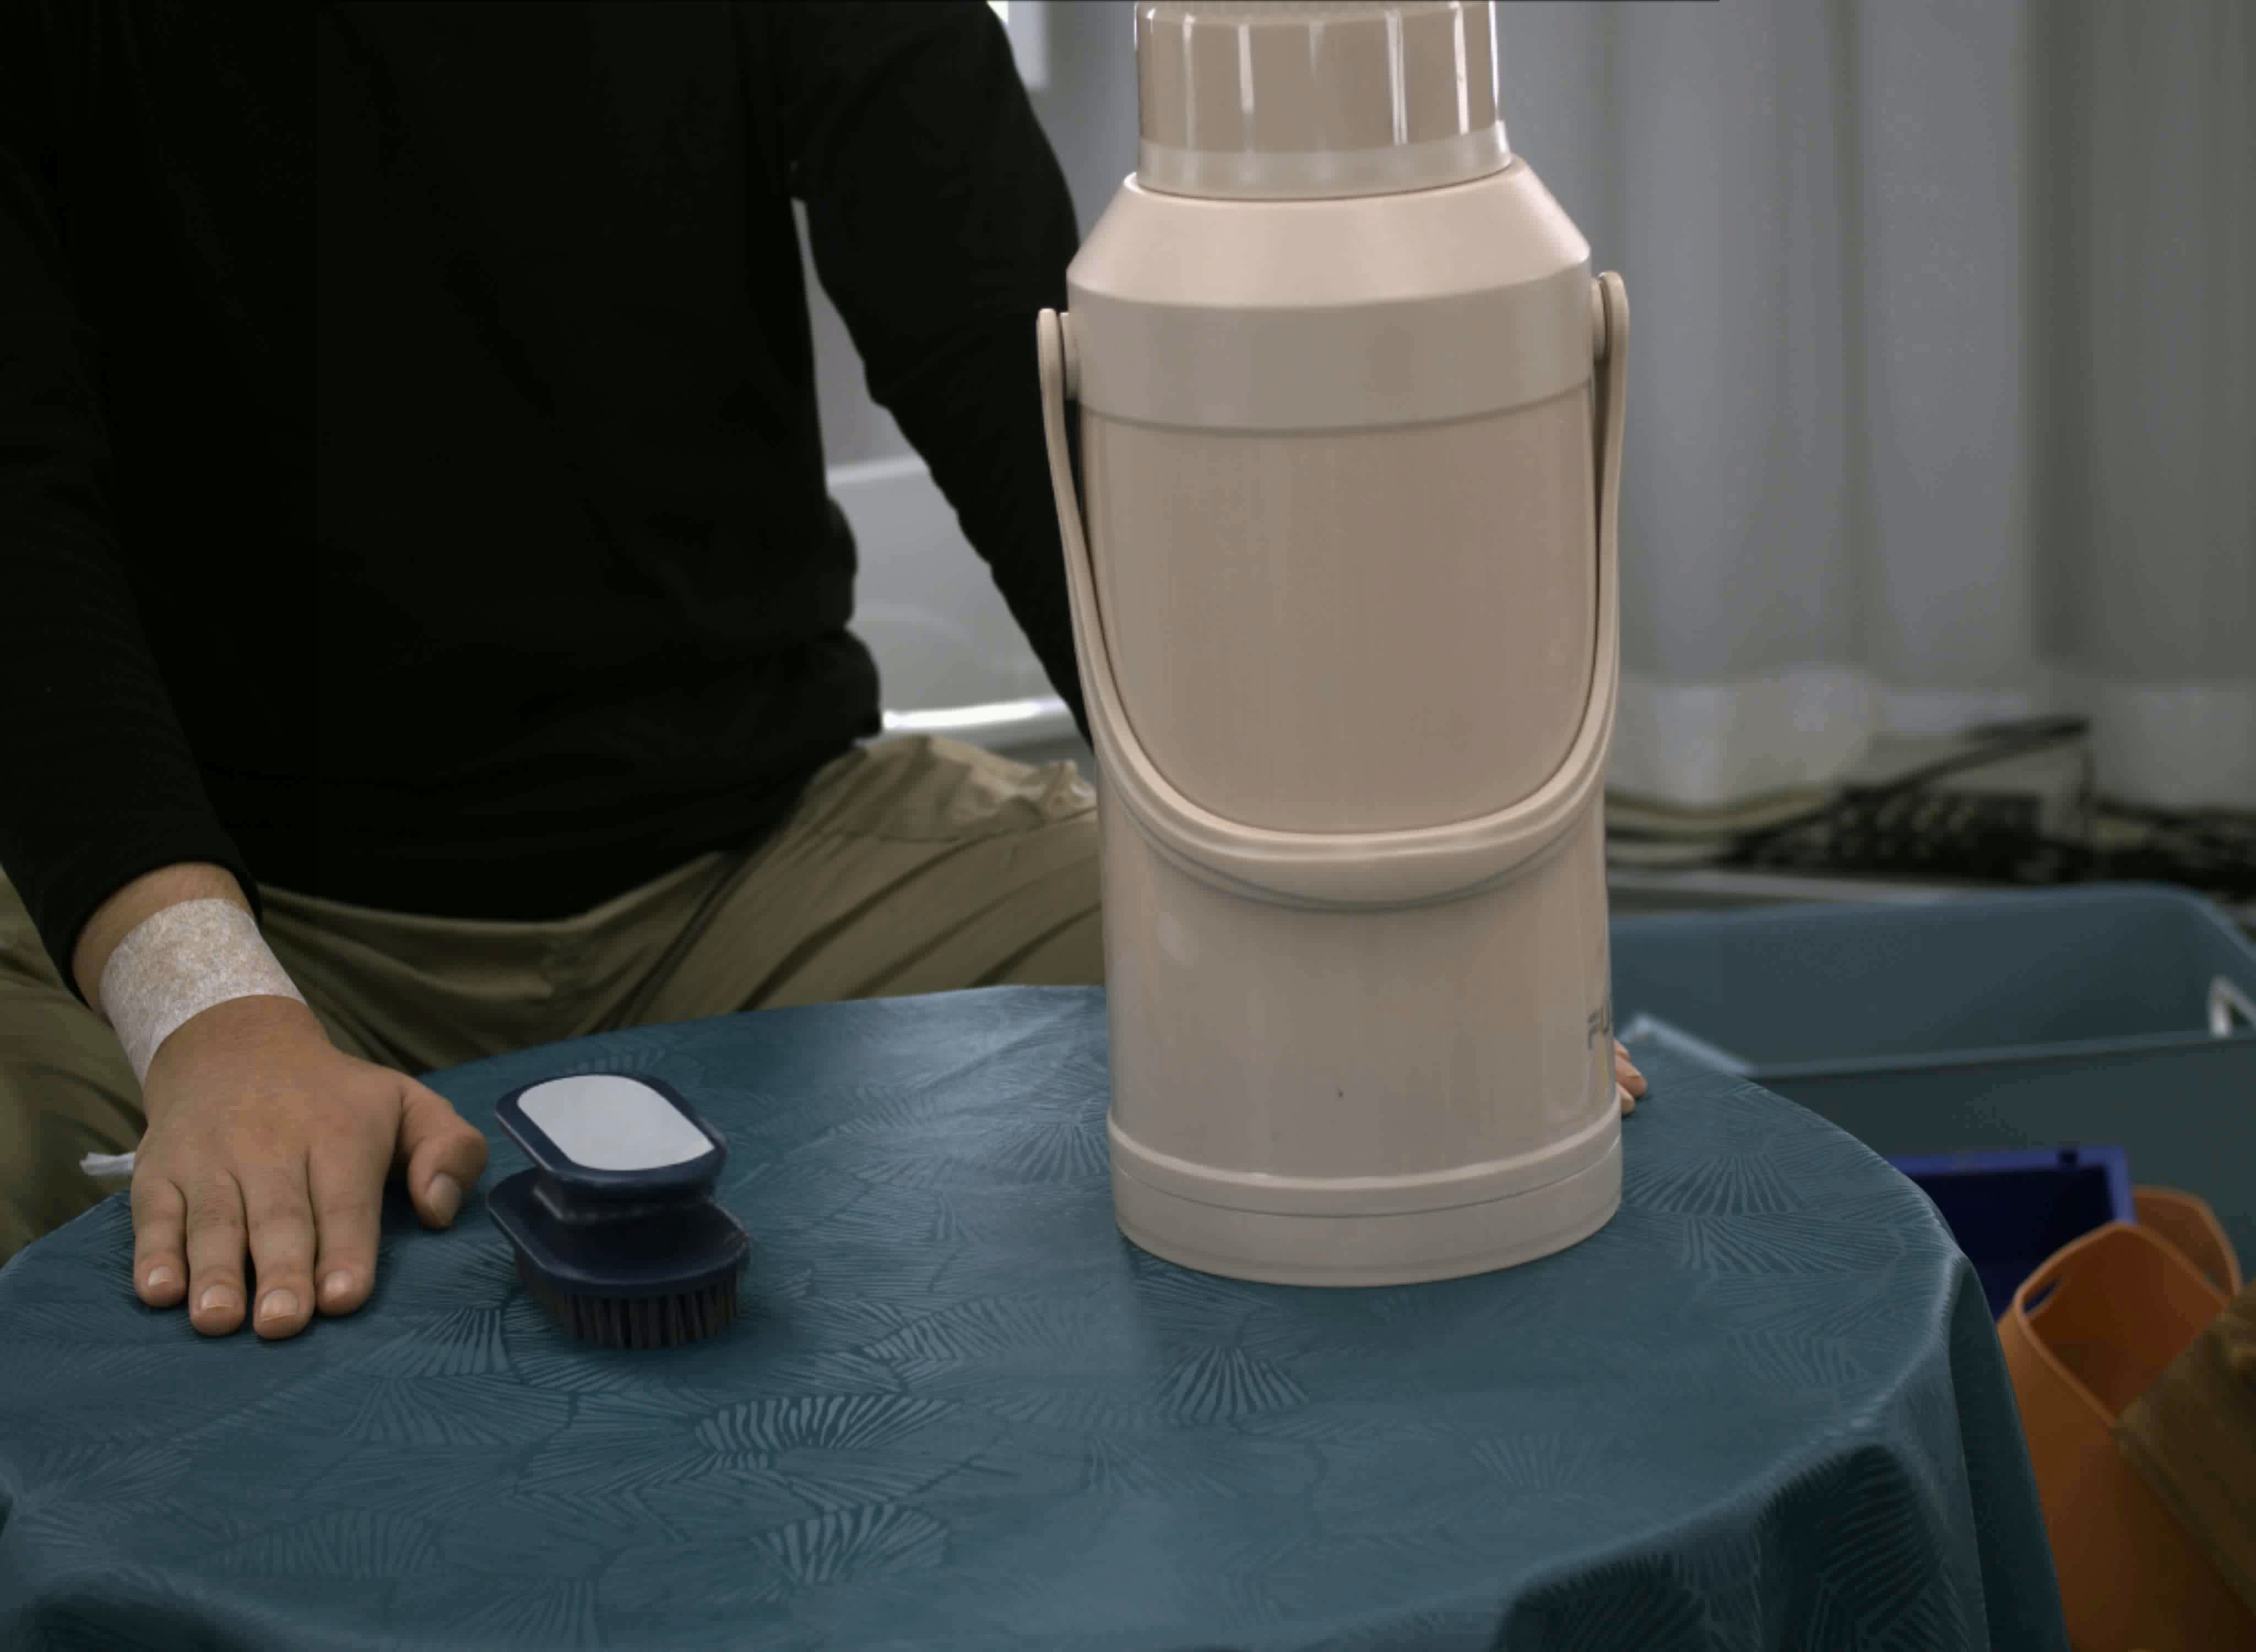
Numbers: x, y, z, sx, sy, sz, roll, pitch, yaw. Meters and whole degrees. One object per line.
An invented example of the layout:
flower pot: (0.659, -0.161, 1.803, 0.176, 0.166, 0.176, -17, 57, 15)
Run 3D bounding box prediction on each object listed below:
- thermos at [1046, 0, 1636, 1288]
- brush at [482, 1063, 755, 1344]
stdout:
thermos: (0.067, -0.079, 1.661, 0.174, 0.405, 0.208, -5, 14, -4)
brush: (-0.153, 0.114, 1.637, 0.067, 0.061, 0.122, -5, 15, -19)
